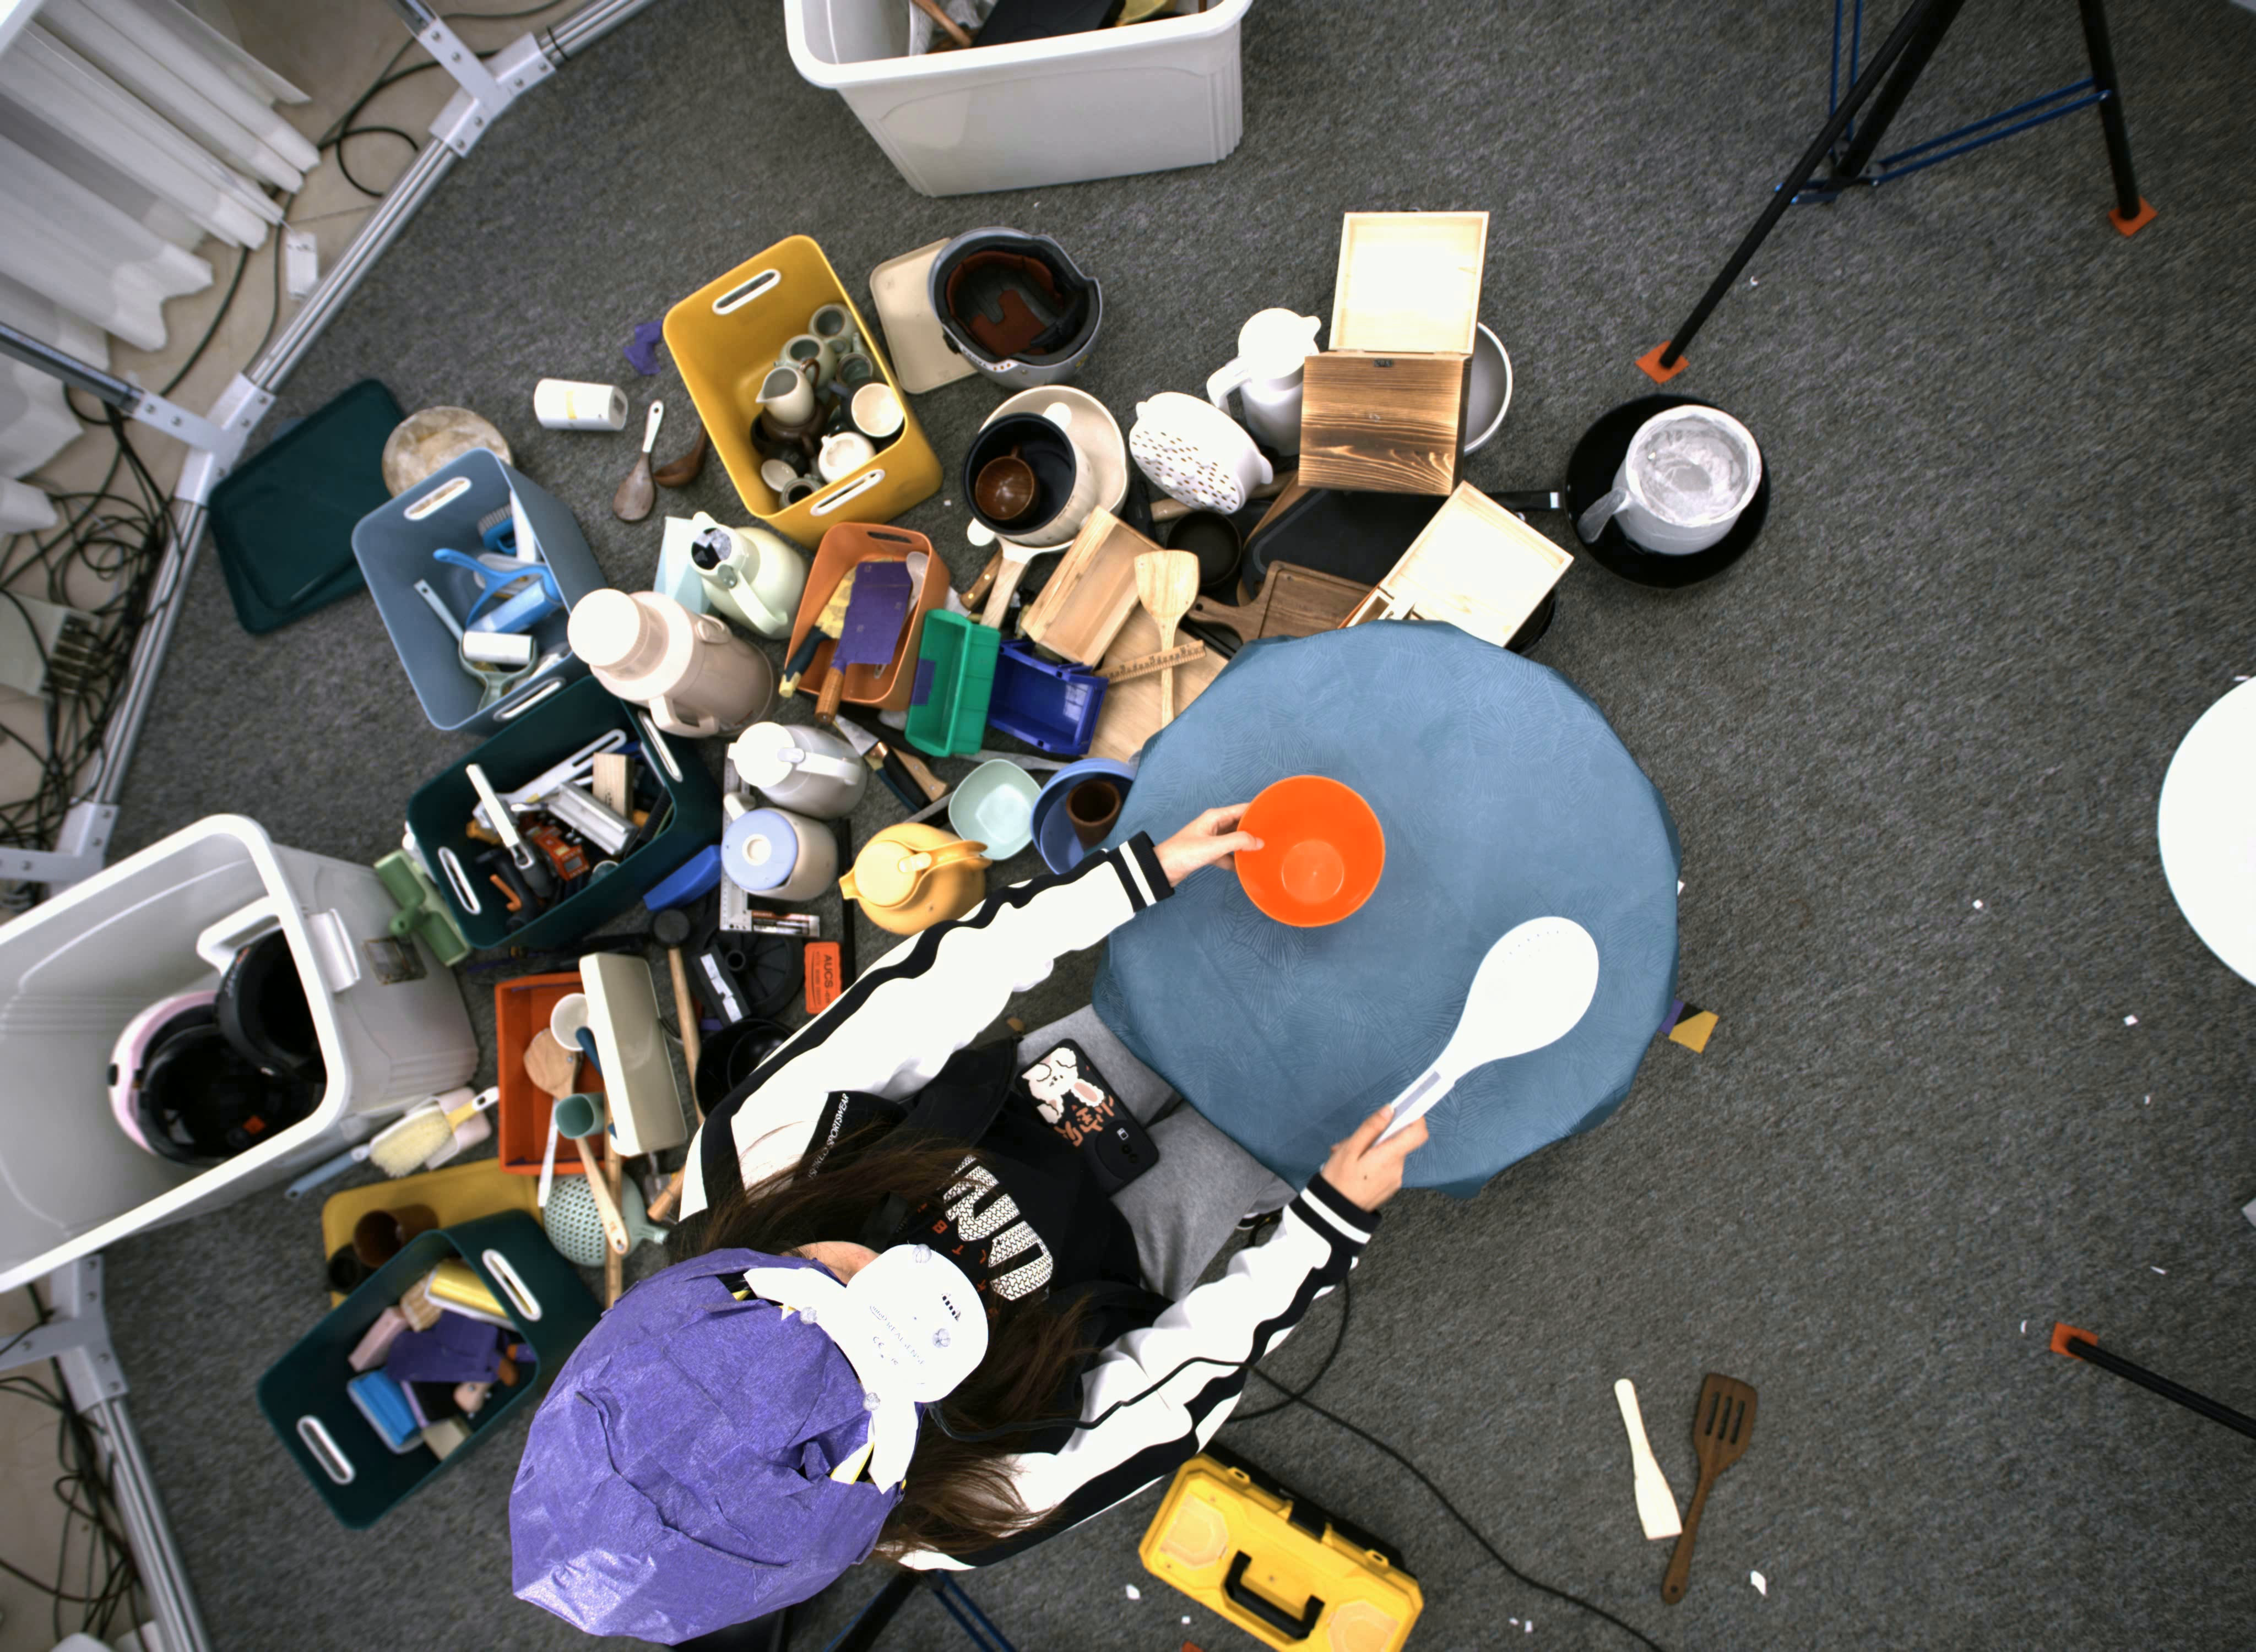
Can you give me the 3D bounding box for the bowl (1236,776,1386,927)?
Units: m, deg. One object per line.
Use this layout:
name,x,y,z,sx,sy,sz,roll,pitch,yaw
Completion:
bowl,0.186,0.030,1.395,0.148,0.105,0.147,-1,84,11

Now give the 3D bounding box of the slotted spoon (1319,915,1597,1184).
slotted spoon,0.312,0.223,1.325,0.353,0.133,0.046,-43,124,14
